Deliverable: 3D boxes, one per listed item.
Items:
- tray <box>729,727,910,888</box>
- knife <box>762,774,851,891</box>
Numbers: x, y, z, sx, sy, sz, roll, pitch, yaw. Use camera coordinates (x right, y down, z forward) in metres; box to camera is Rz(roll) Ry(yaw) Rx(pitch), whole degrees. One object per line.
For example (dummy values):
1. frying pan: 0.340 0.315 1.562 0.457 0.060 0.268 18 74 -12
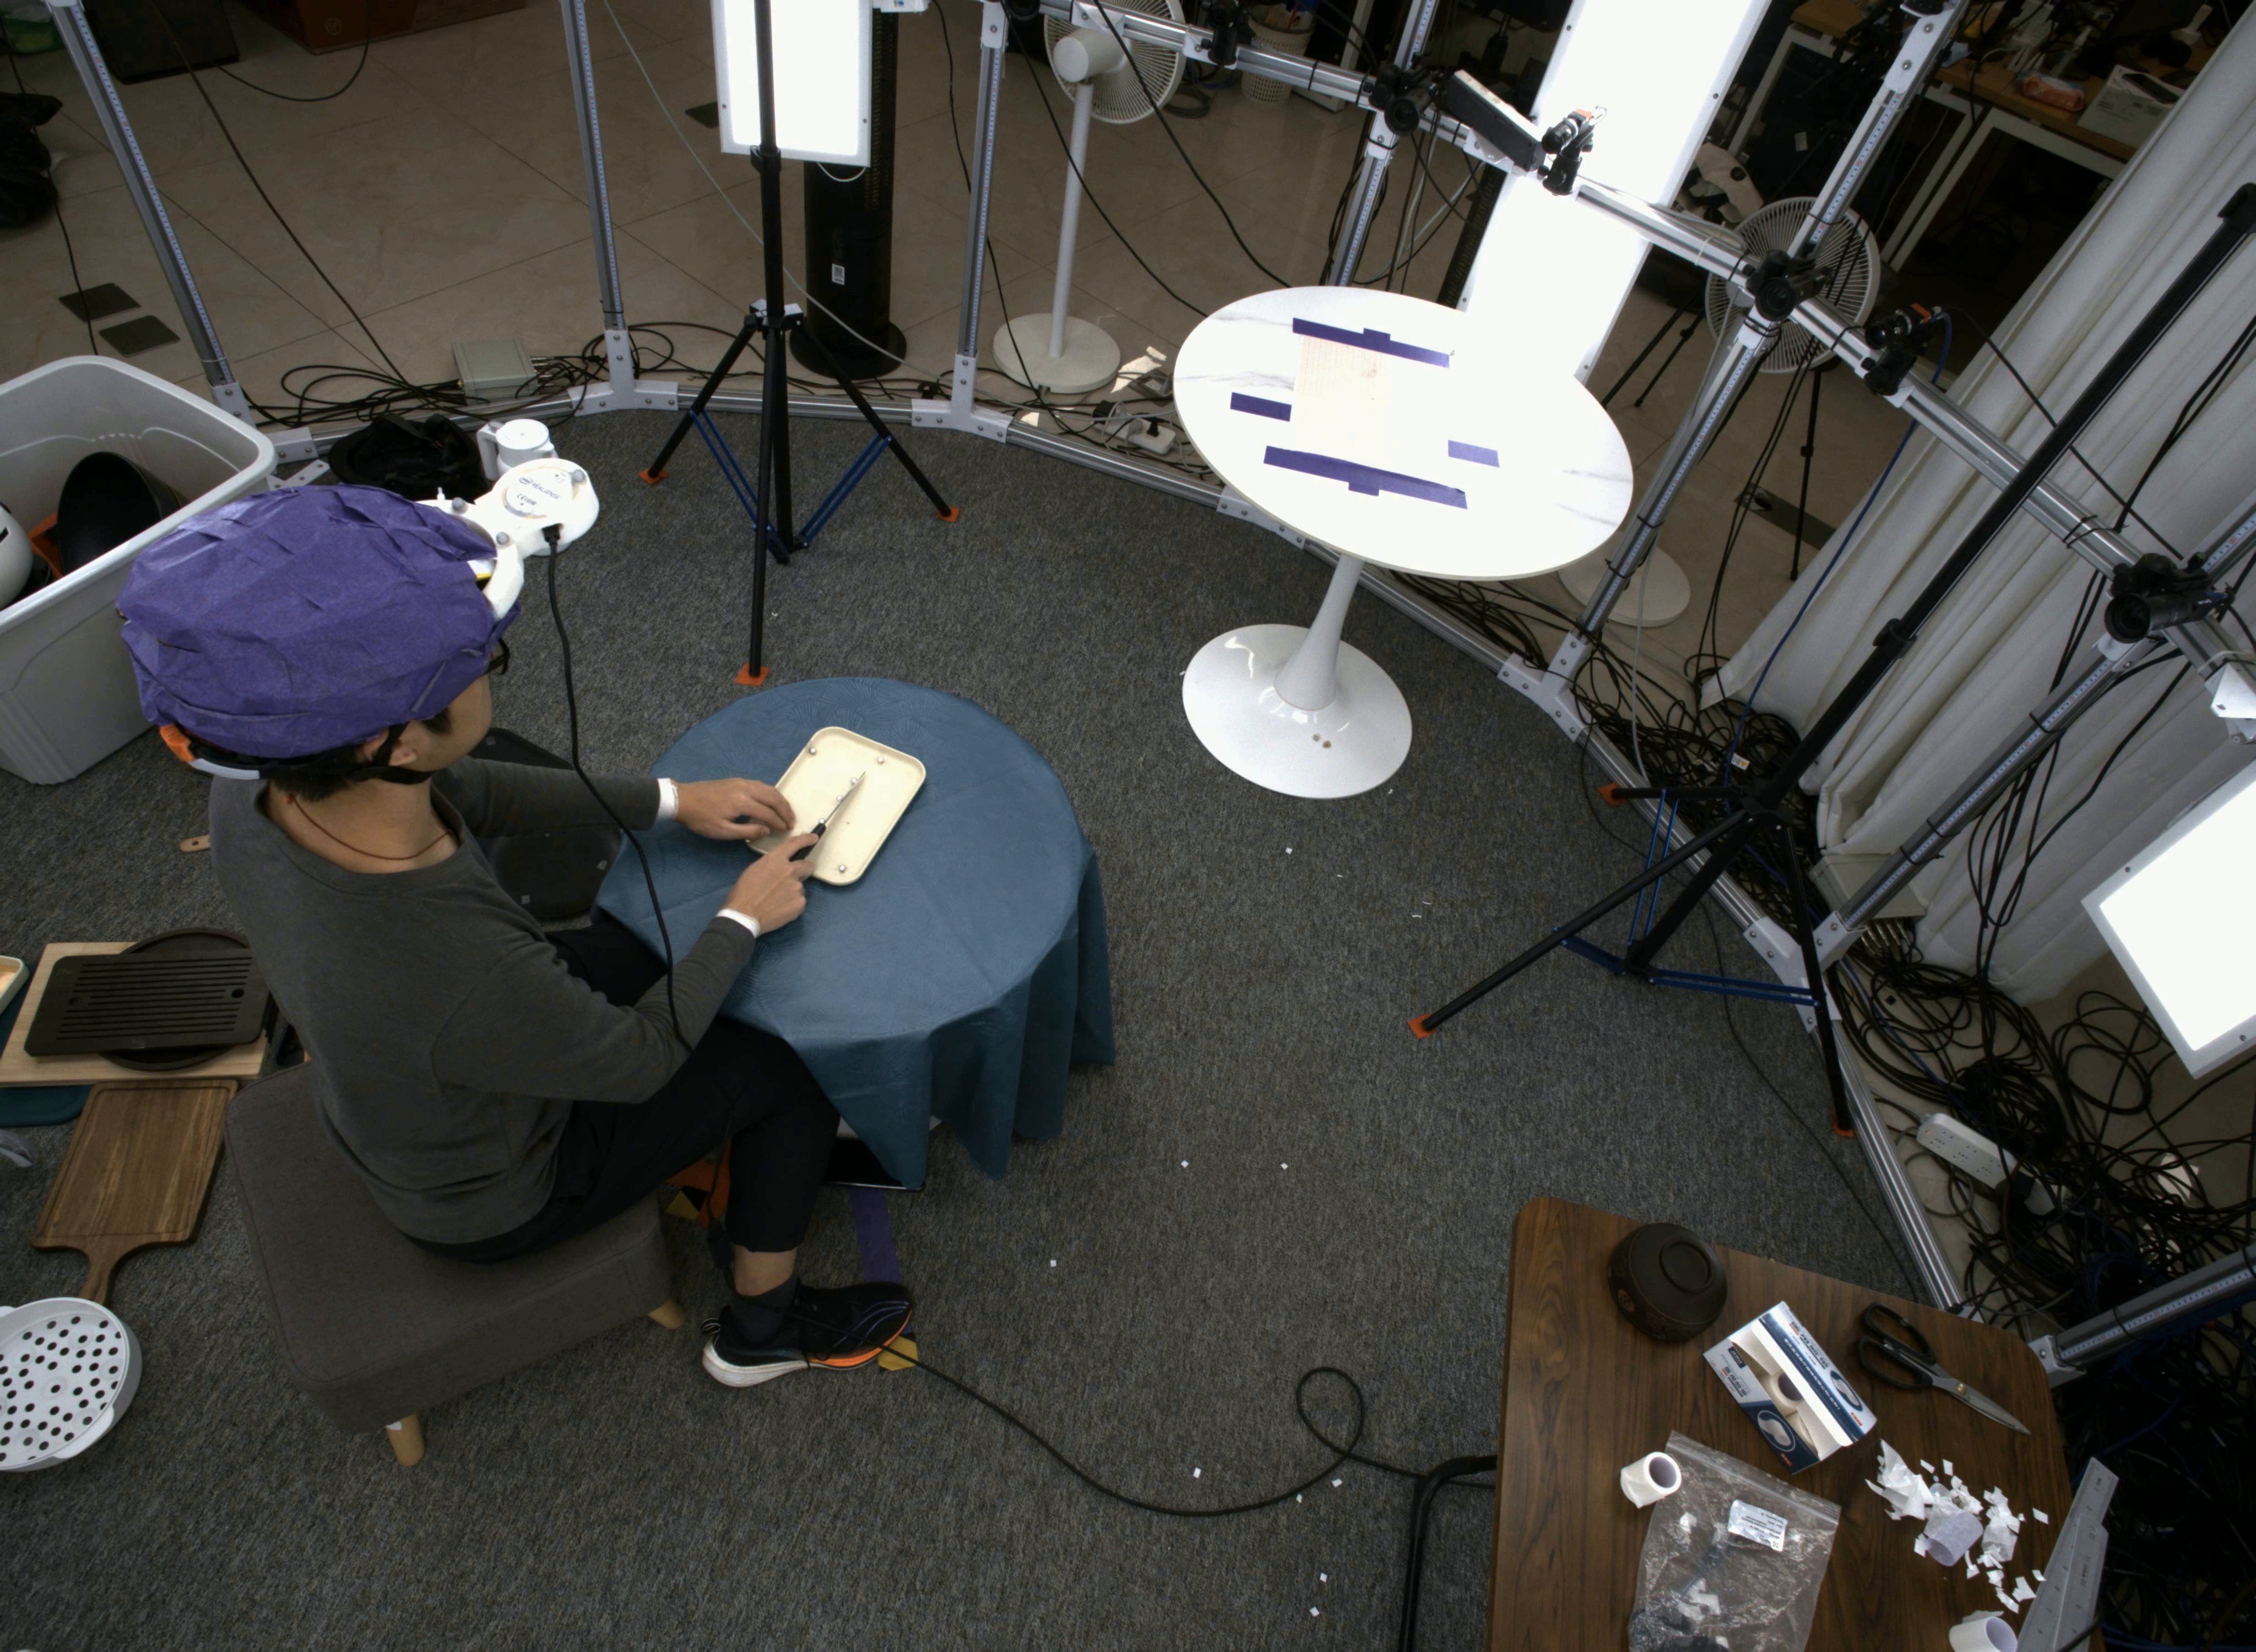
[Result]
1. tray: -0.412 -0.027 1.747 0.169 0.018 0.238 24 52 3
2. knife: -0.419 0.000 1.710 0.016 0.024 0.236 36 44 -10
